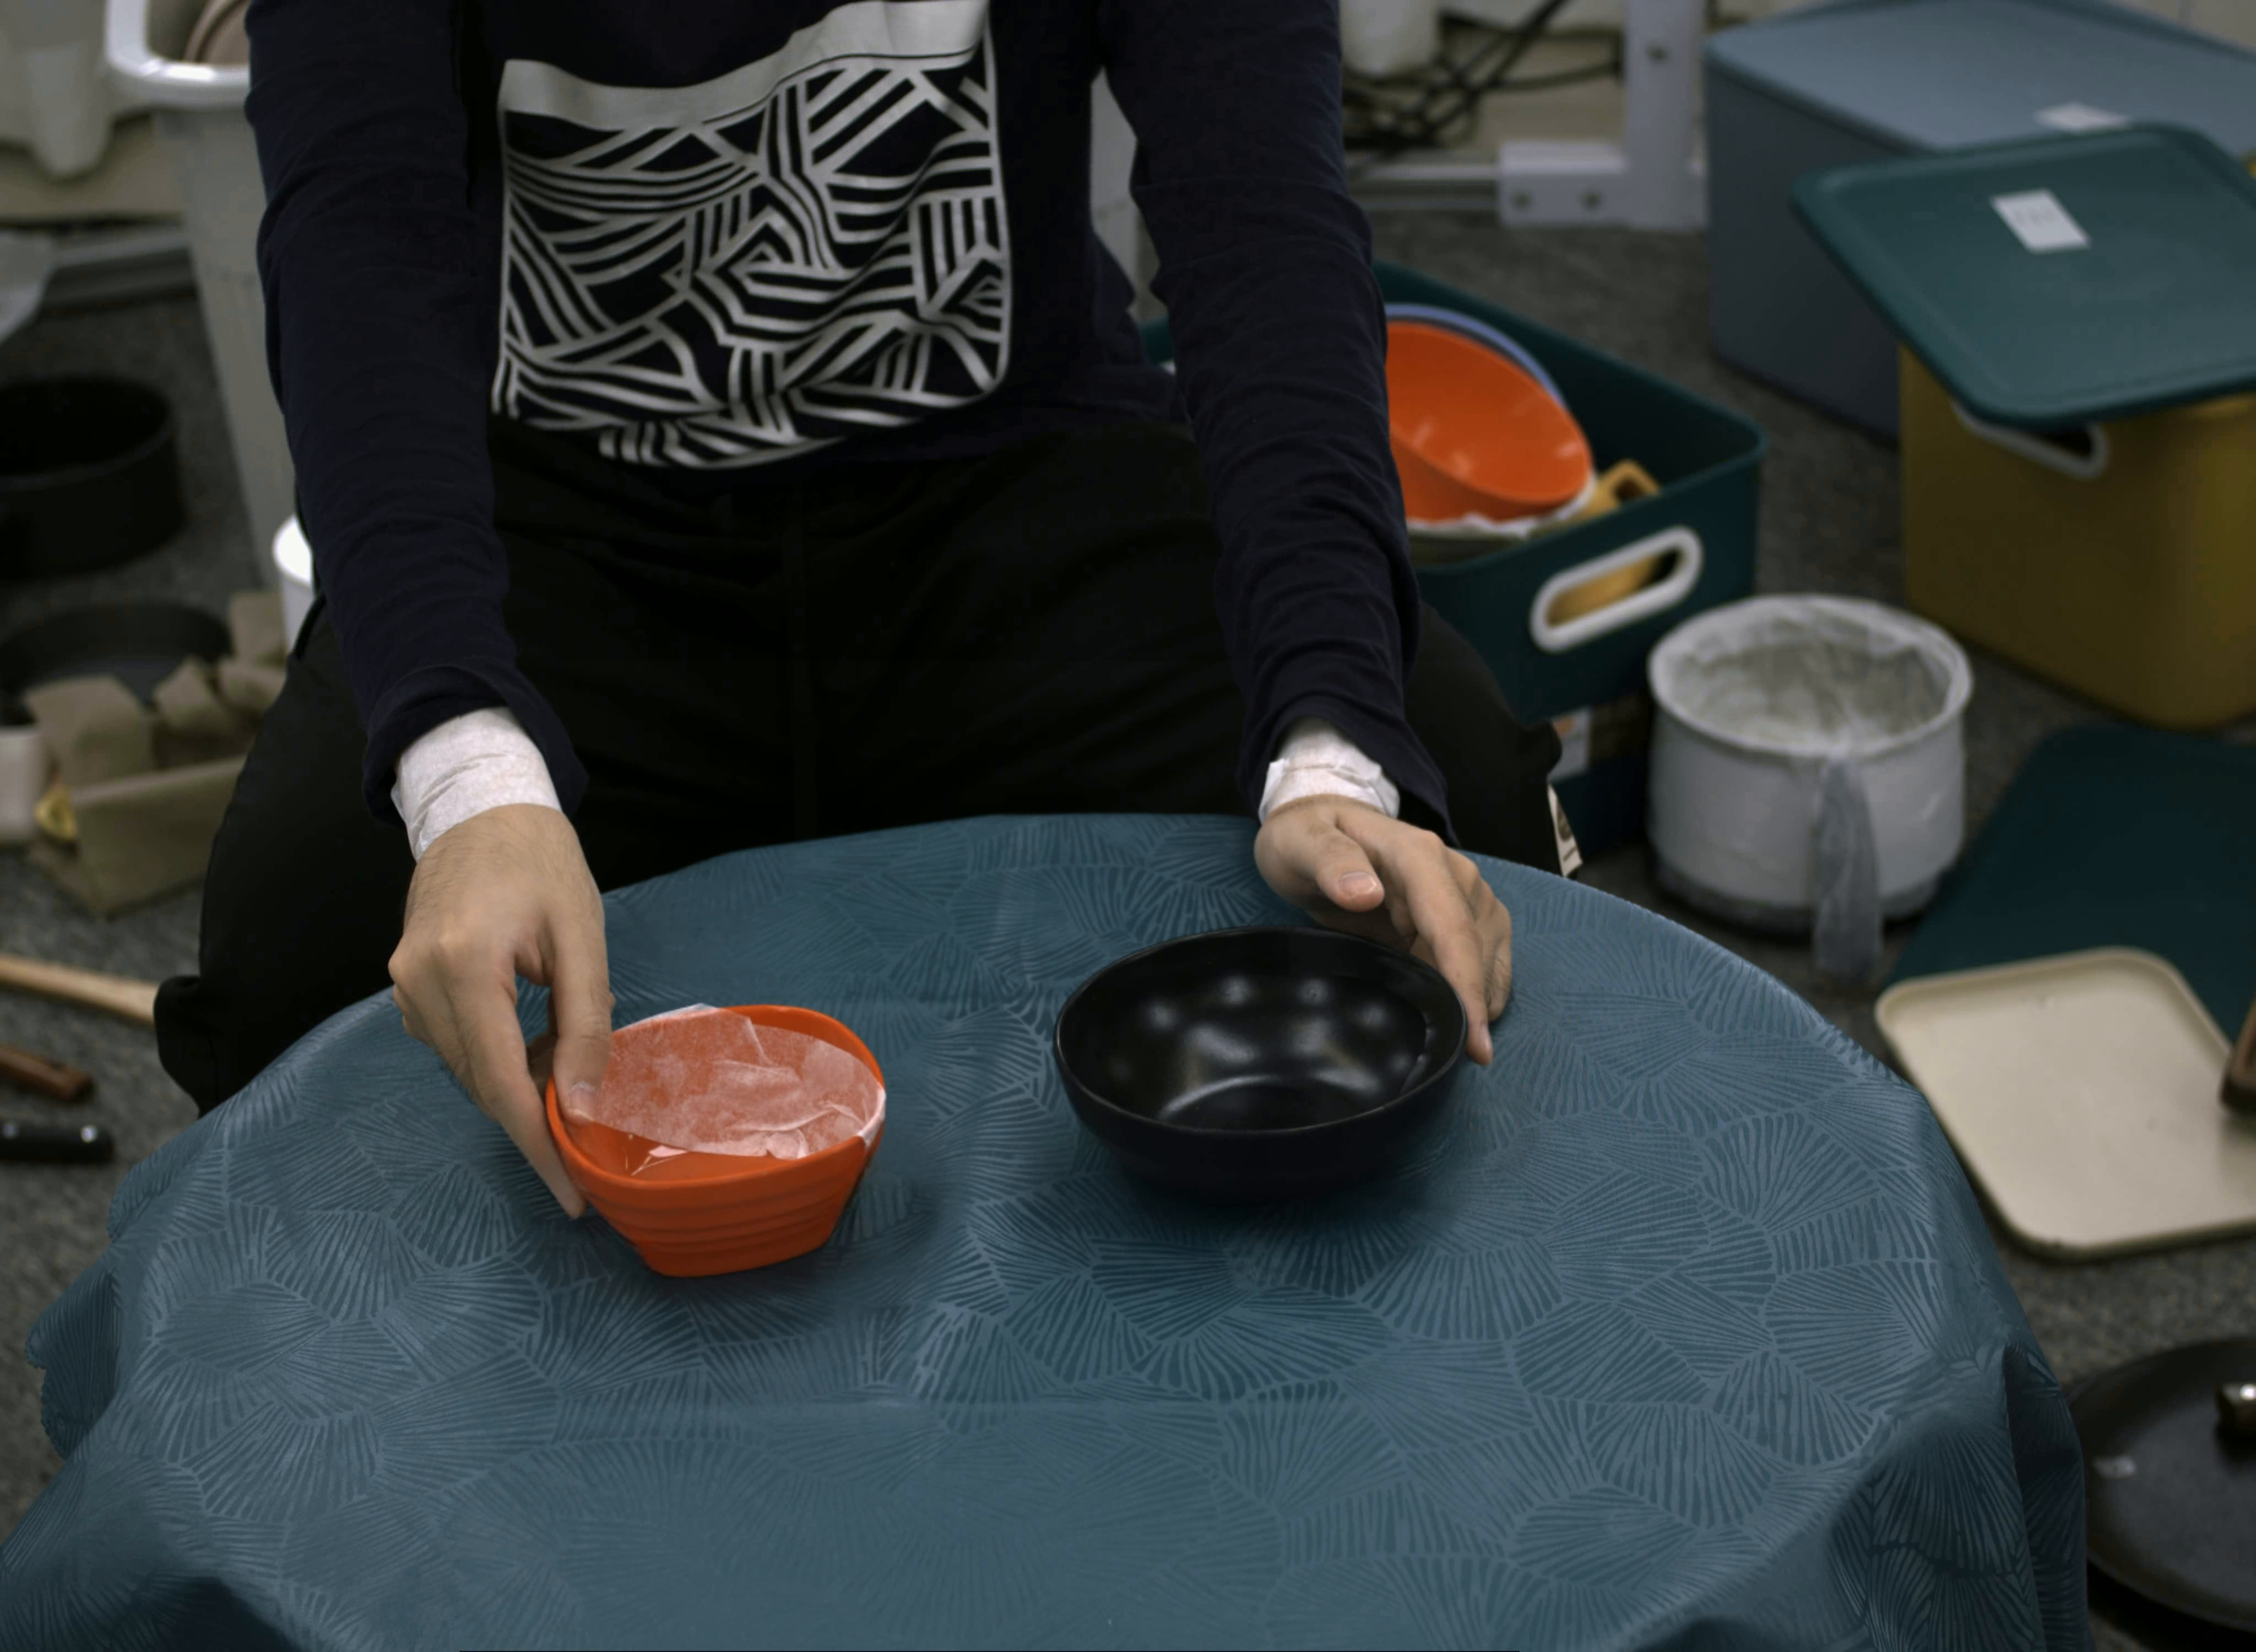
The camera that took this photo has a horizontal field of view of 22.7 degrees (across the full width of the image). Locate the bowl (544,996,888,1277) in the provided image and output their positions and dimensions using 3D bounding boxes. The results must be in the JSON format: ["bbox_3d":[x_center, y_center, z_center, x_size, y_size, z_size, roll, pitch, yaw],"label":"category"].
[{"bbox_3d":[-0.134,0.107,1.845,0.118,0.051,0.121,-3,29,2],"label":"bowl"}]

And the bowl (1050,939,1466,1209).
[{"bbox_3d":[0.044,0.089,1.871,0.139,0.049,0.142,-3,24,2],"label":"bowl"}]
